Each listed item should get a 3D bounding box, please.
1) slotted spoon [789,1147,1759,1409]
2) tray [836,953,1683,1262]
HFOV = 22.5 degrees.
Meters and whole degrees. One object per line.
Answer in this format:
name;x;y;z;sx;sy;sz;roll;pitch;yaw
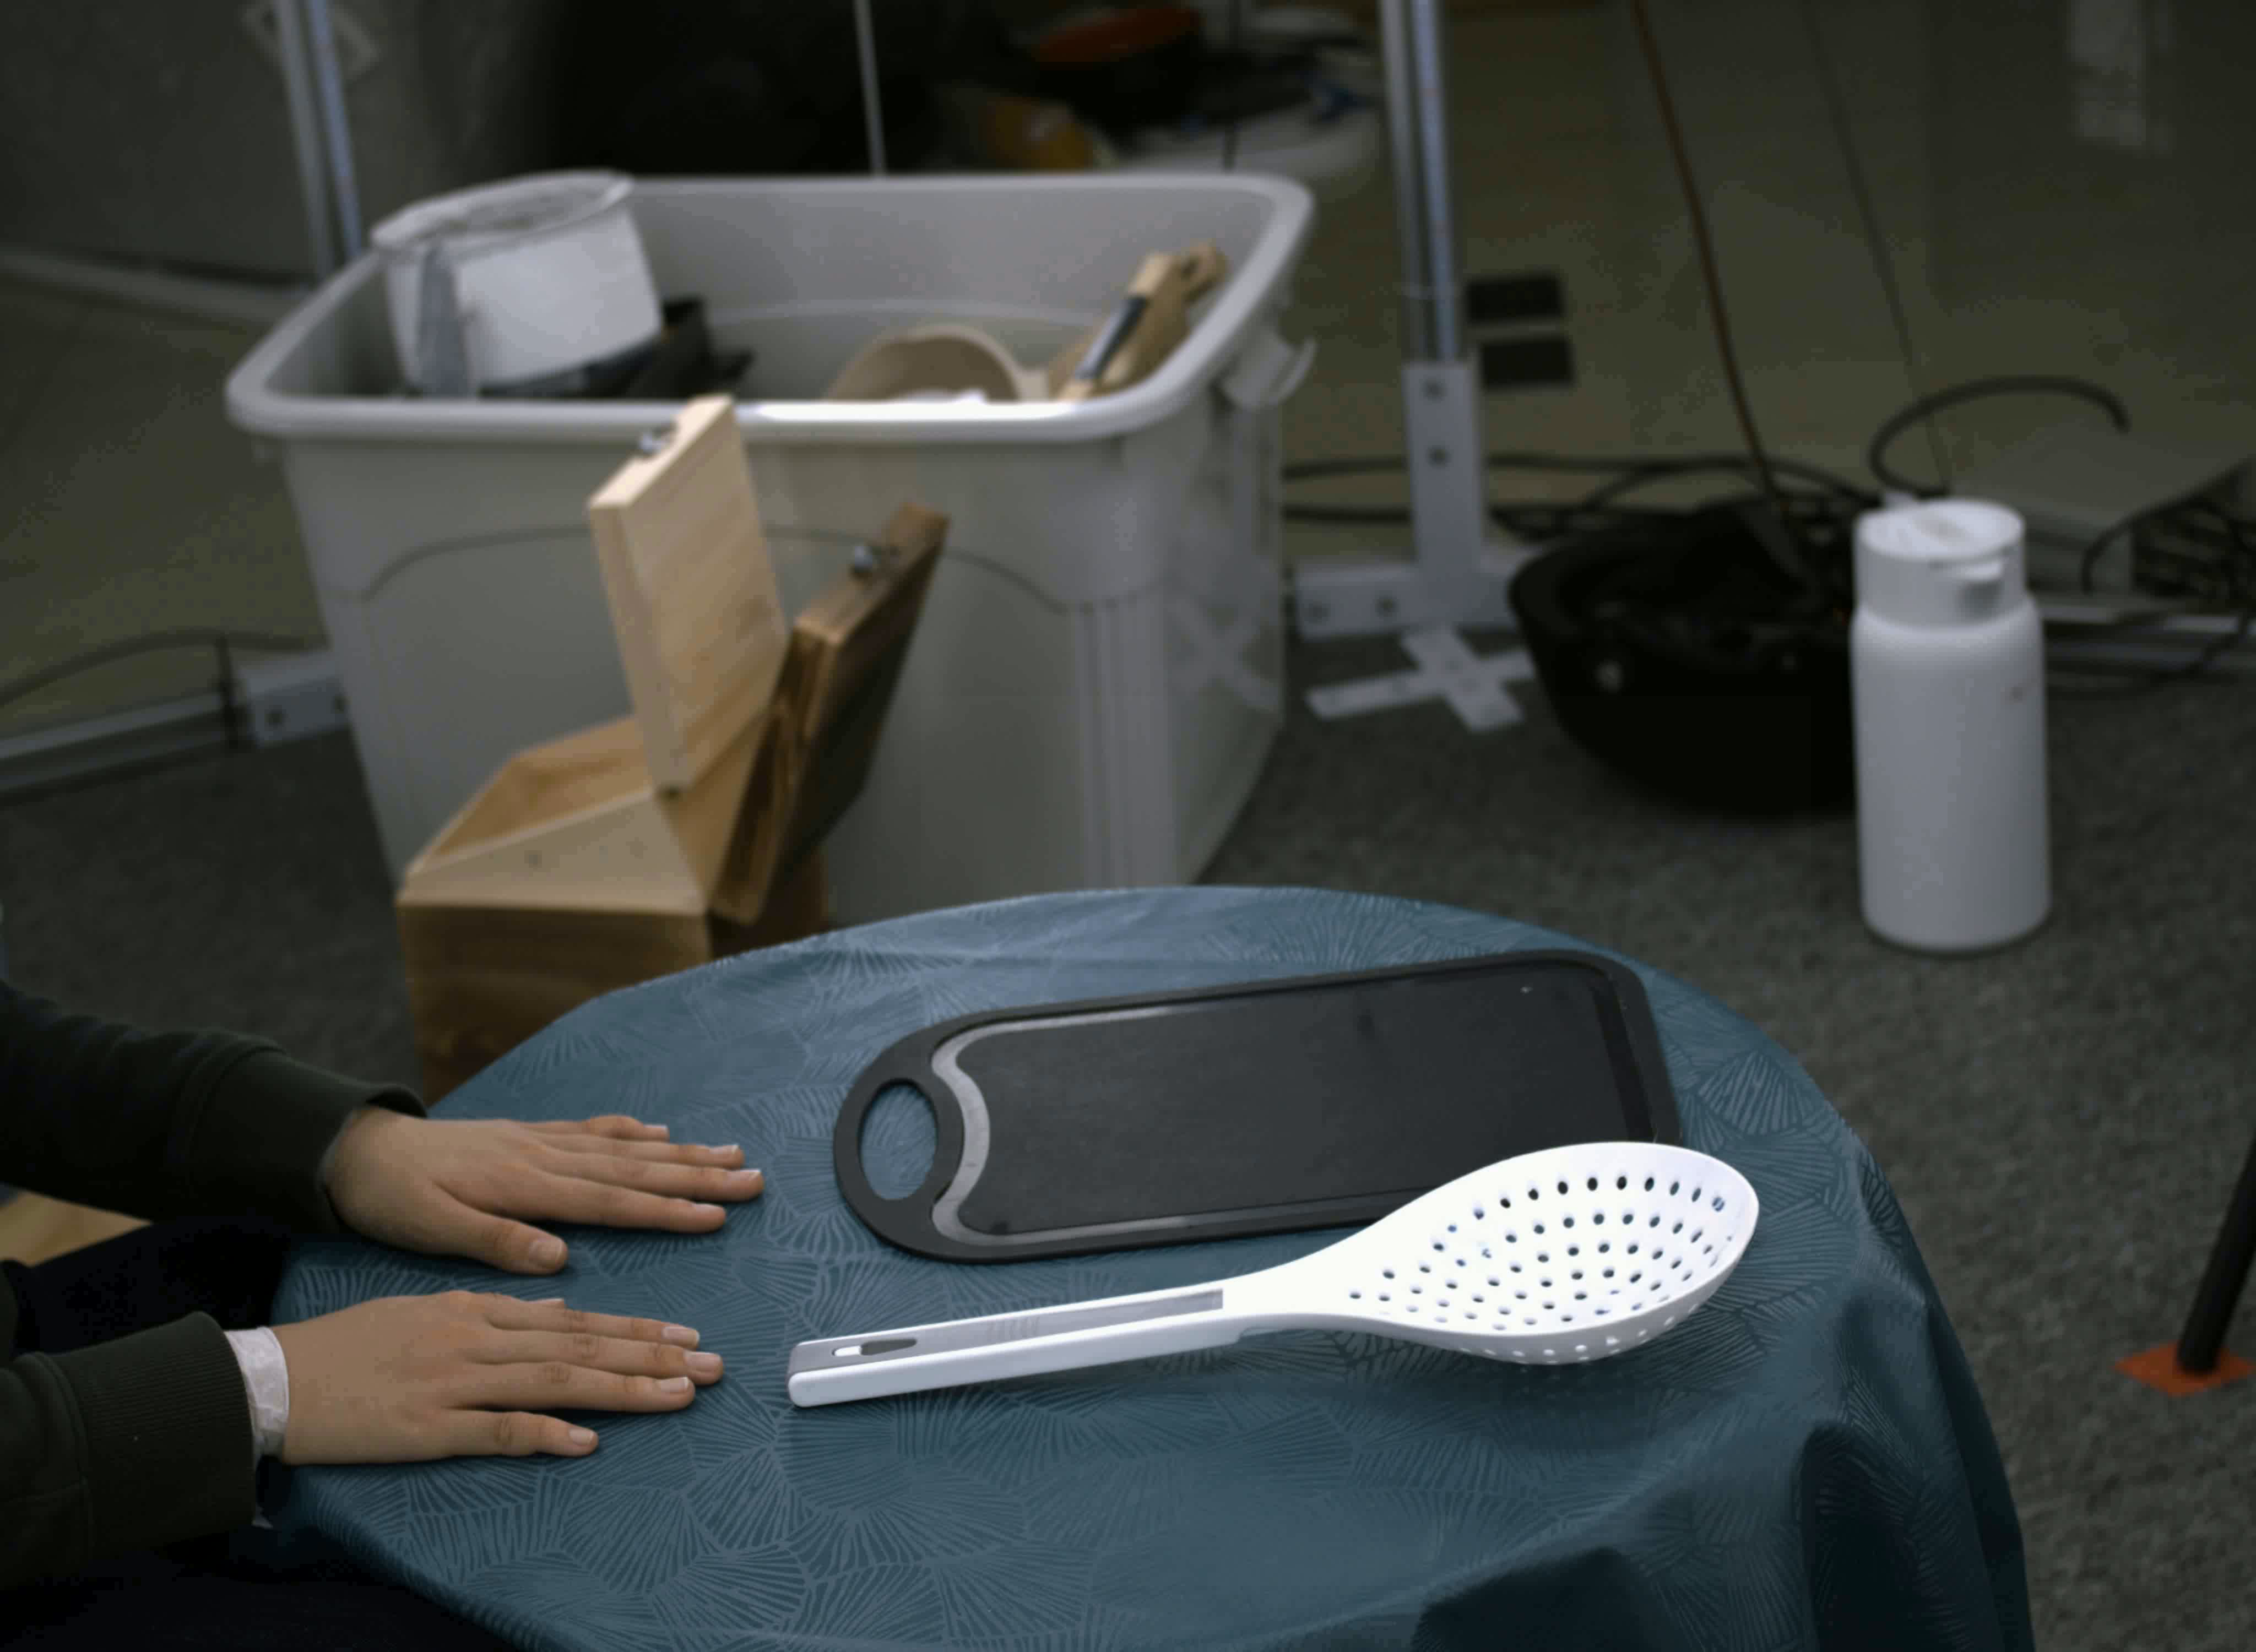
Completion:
slotted spoon;0.051;0.170;2.019;0.349;0.046;0.134;-5;23;4
tray;0.048;0.107;2.202;0.325;0.010;0.208;-6;24;1
